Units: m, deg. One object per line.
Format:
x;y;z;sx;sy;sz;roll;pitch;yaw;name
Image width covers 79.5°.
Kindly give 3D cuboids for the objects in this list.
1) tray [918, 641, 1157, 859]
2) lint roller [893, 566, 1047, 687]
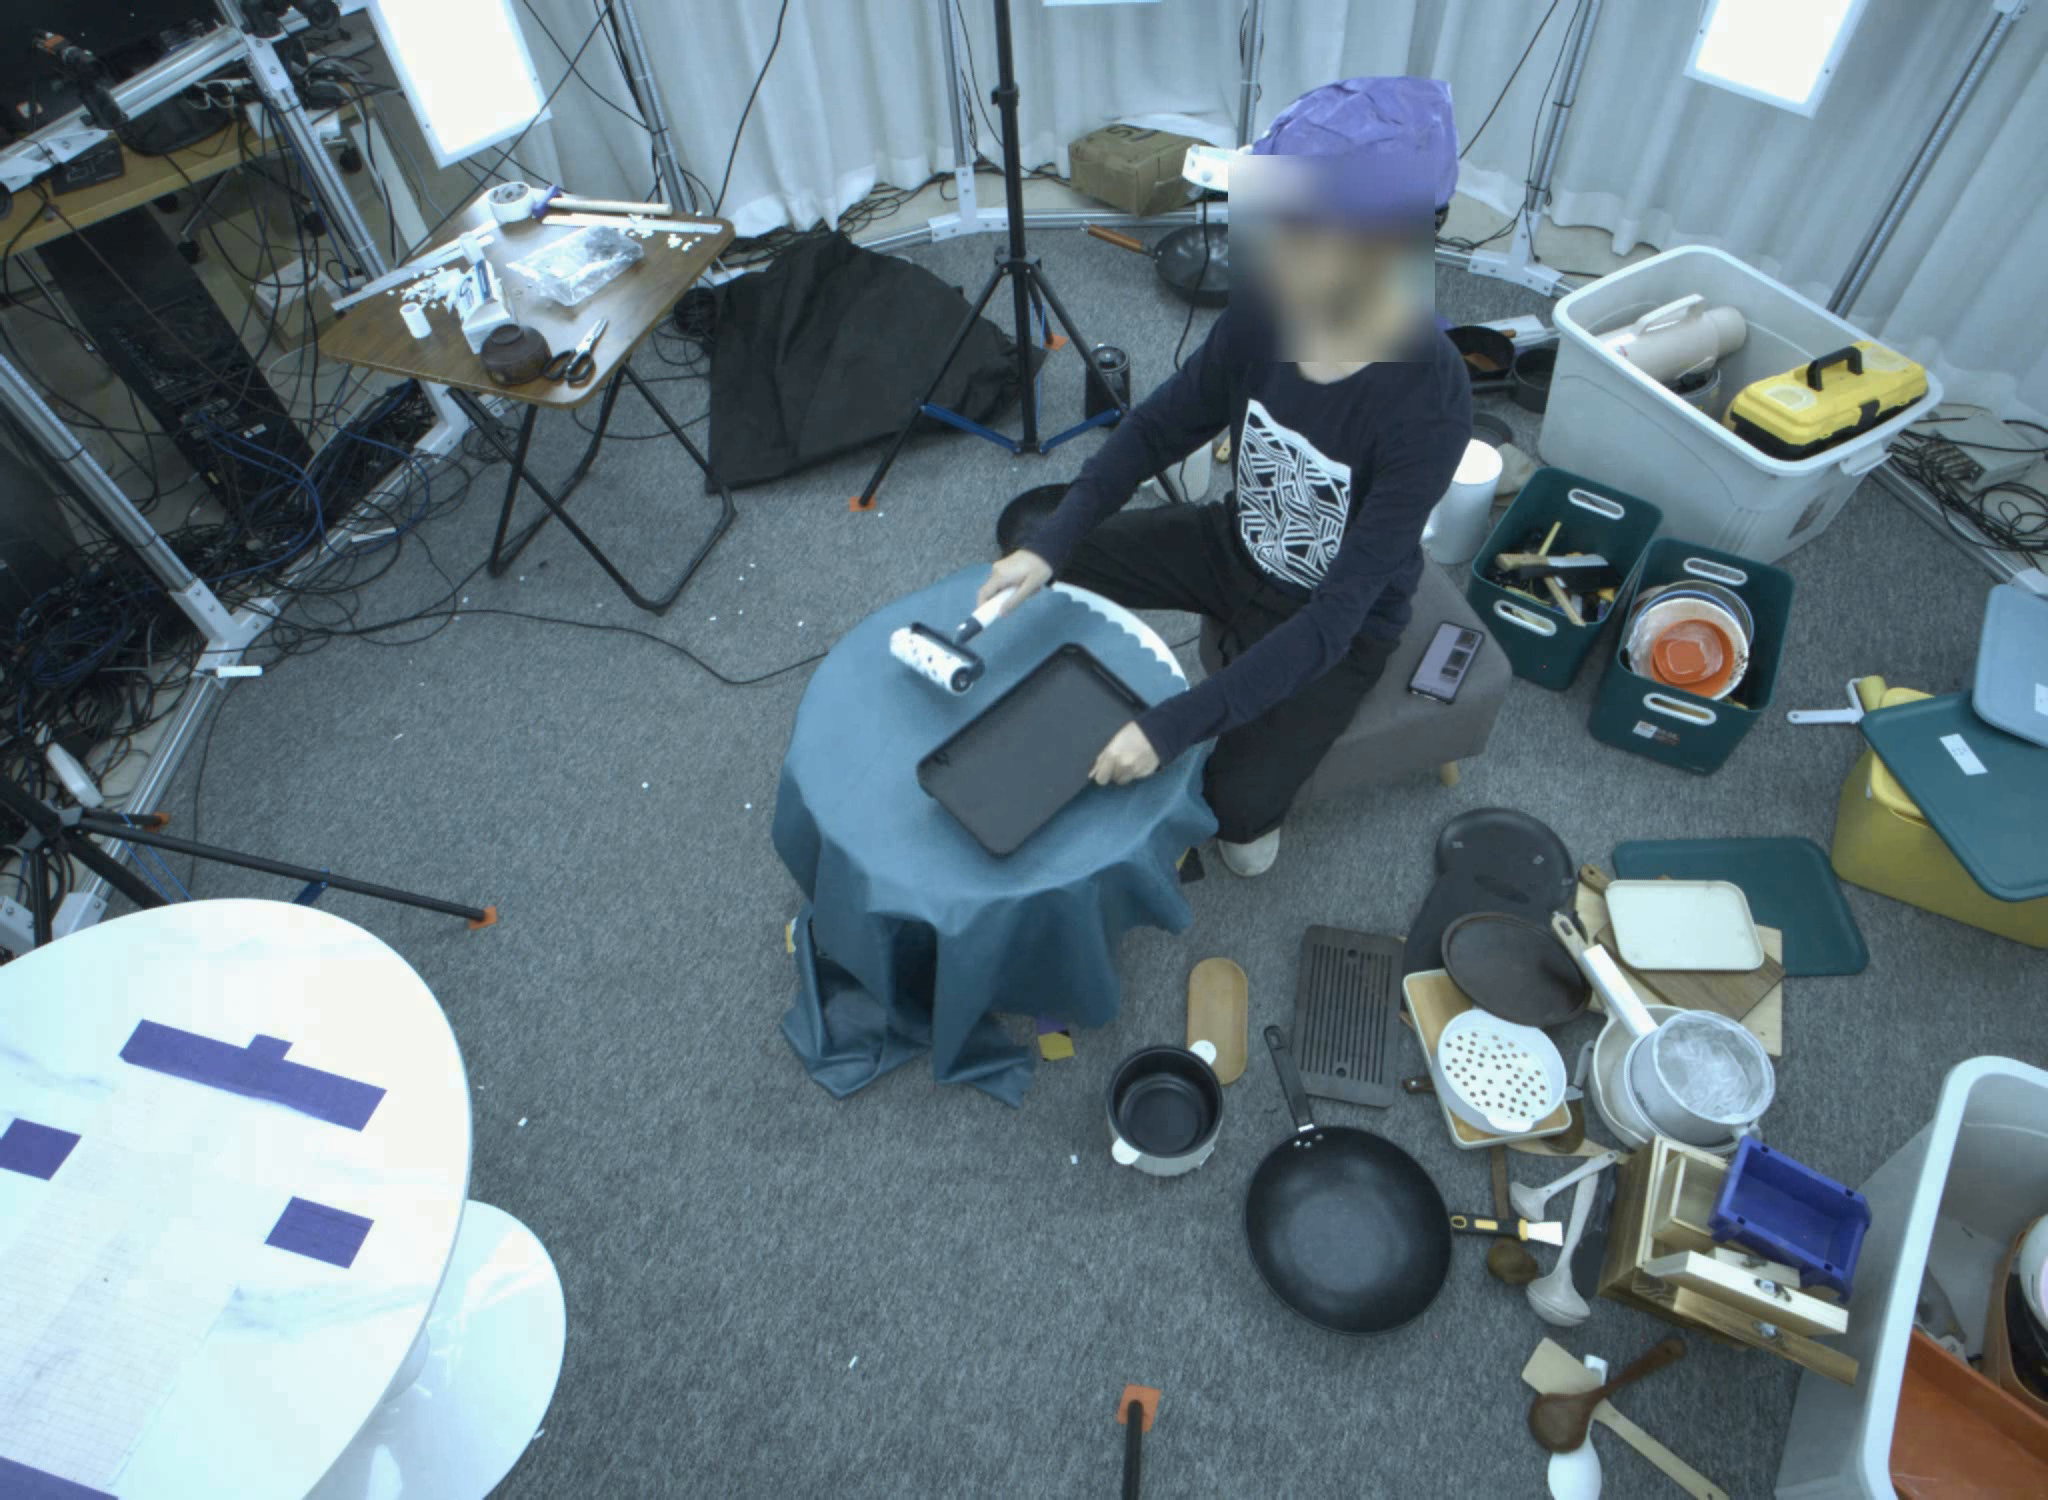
0.021;-0.004;1.726;0.320;0.037;0.182;-40;75;-22;tray
-0.062;-0.203;1.832;0.248;0.051;0.172;-43;43;-17;lint roller
